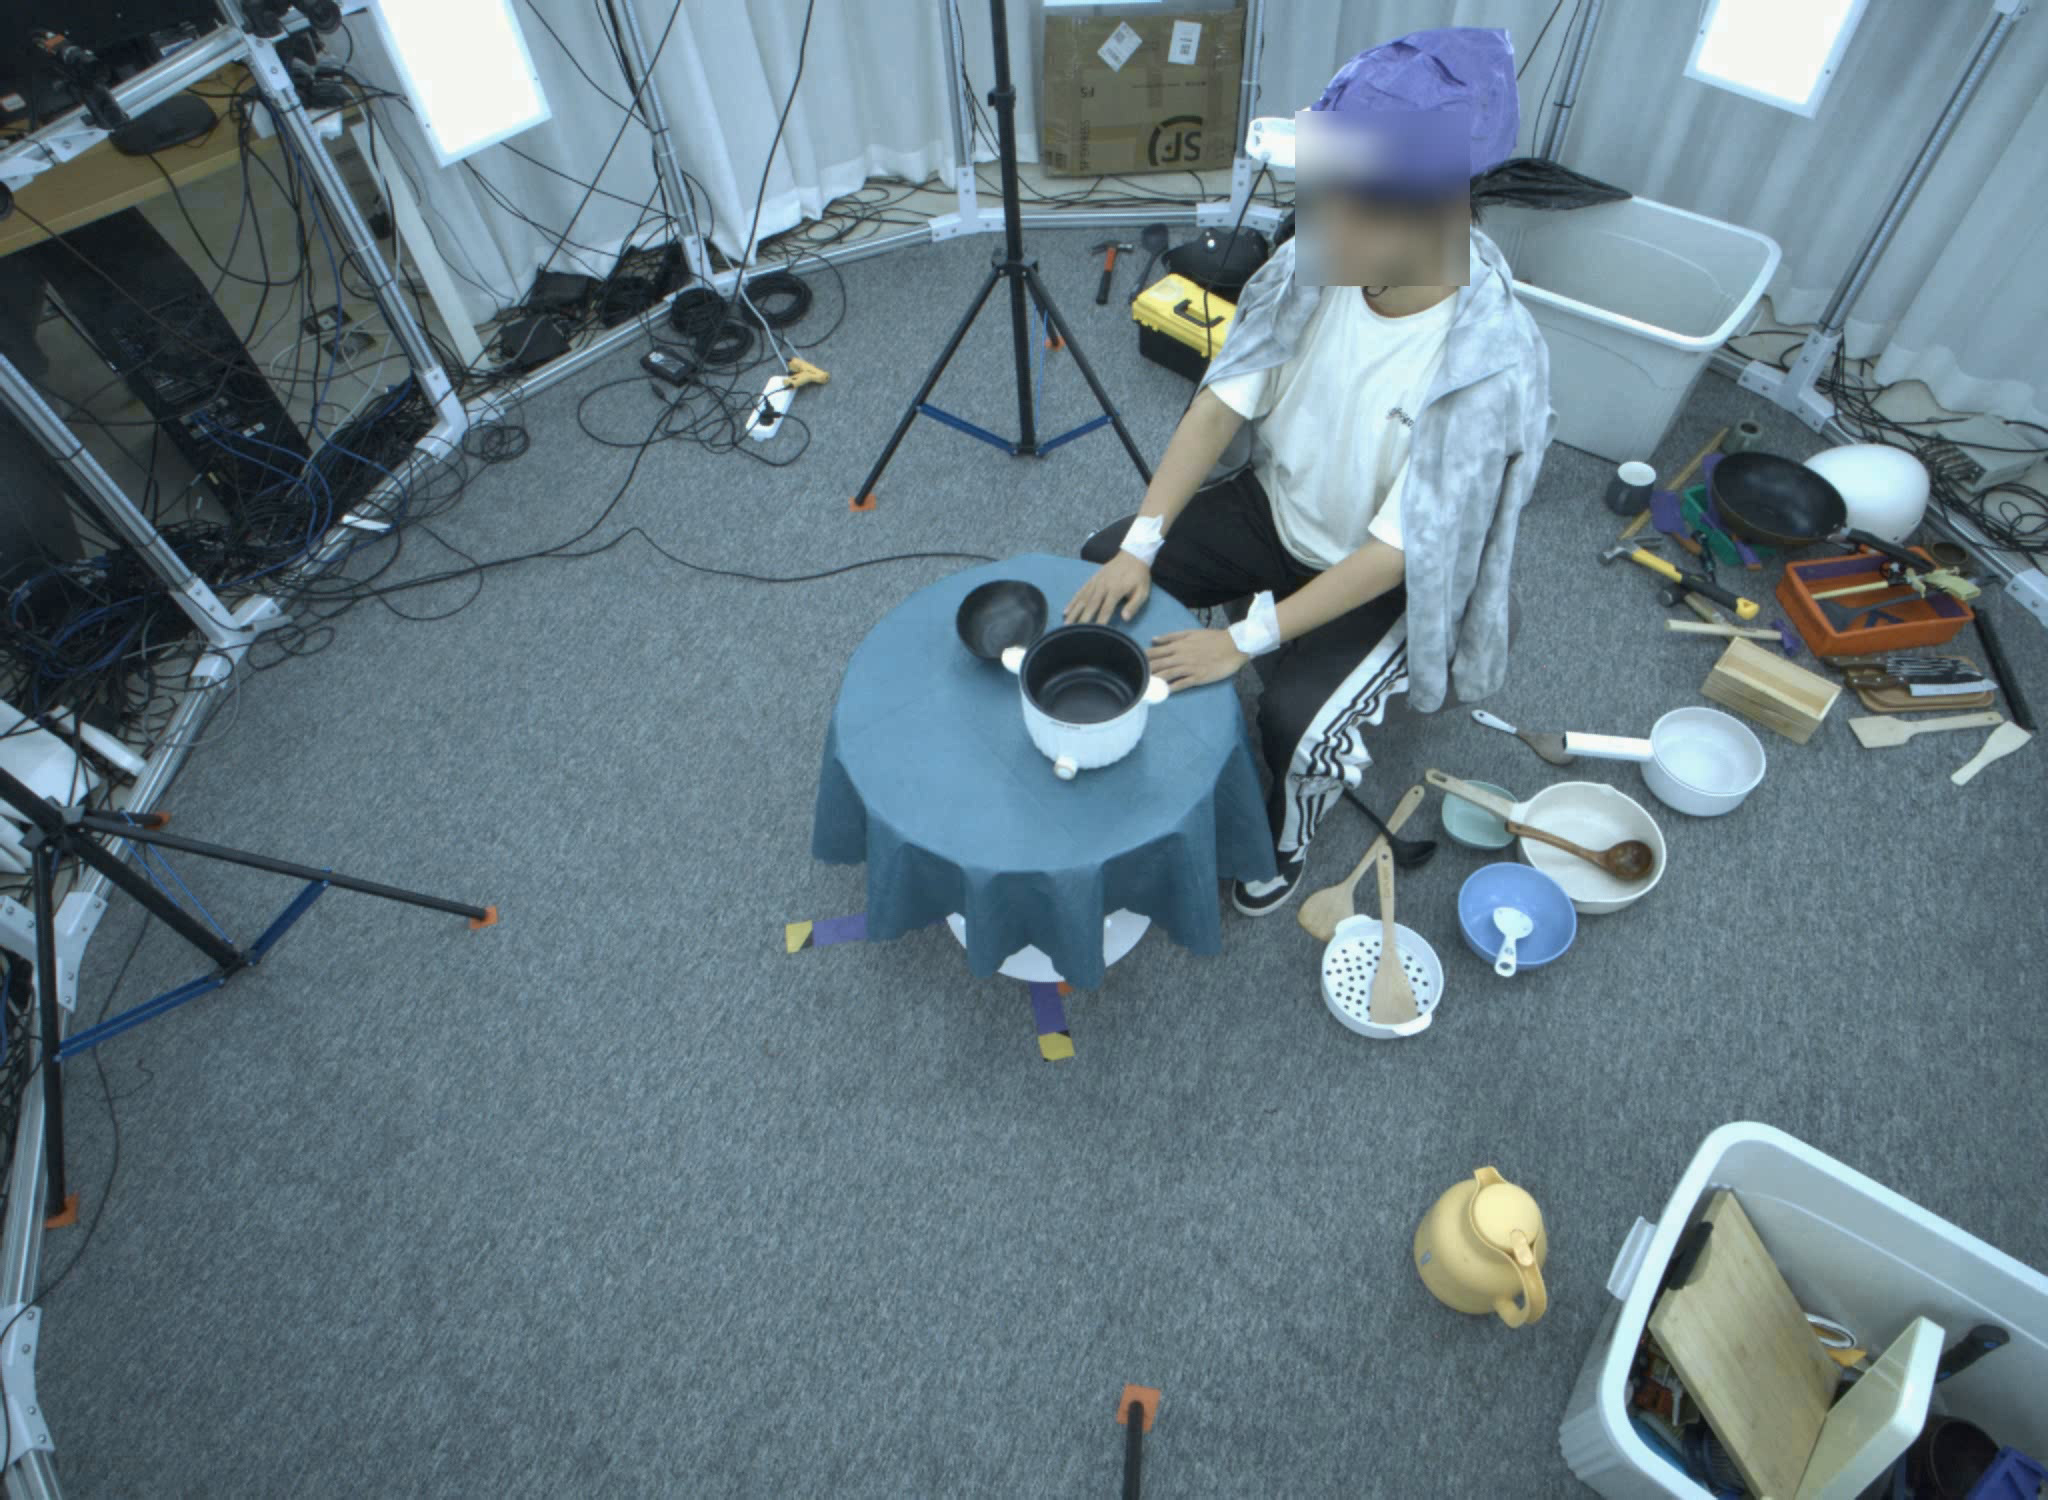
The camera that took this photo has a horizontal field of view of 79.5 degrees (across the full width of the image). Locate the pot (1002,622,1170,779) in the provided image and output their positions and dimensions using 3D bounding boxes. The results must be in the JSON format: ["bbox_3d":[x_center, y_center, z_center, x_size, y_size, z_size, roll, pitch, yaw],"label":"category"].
[{"bbox_3d":[0.087,-0.065,1.748,0.238,0.144,0.190,13,53,12],"label":"pot"}]

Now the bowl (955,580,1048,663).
[{"bbox_3d":[-0.032,-0.190,1.885,0.136,0.067,0.170,14,55,11],"label":"bowl"}]
